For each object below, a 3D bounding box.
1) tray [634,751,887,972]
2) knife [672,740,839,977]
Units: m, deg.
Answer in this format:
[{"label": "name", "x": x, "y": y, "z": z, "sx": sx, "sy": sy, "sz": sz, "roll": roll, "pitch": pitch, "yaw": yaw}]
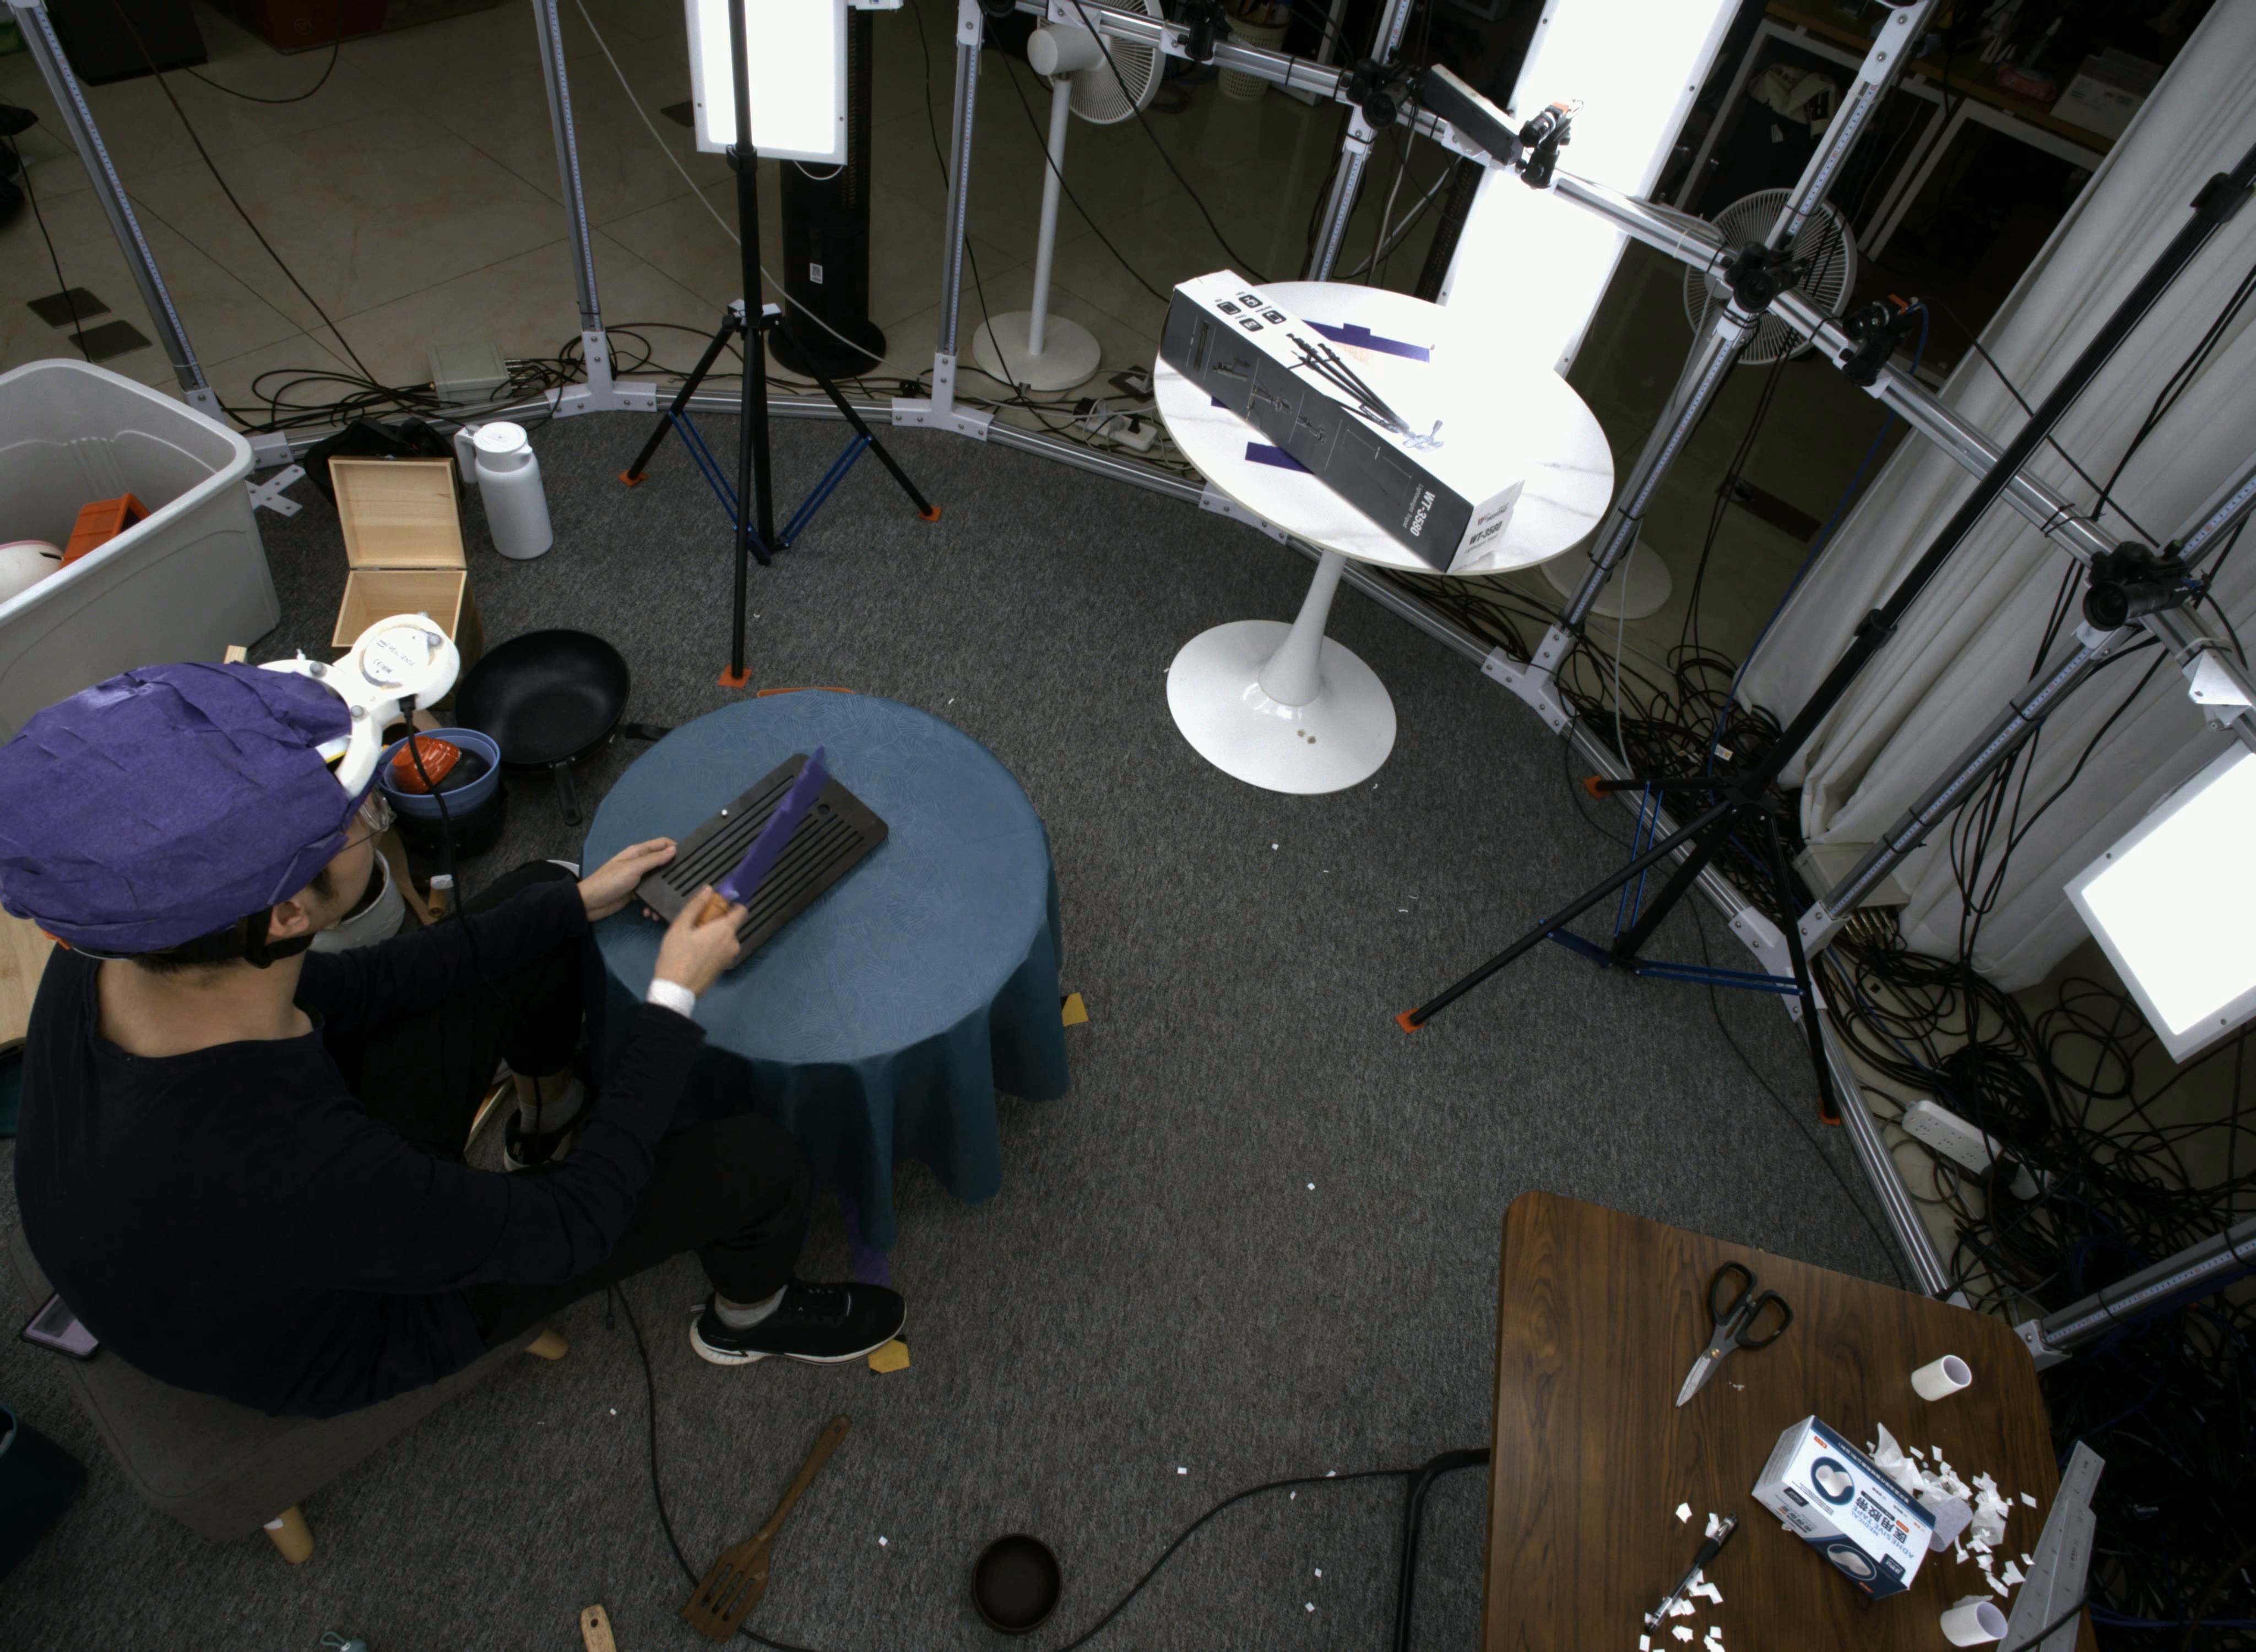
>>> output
[{"label": "tray", "x": -0.467, "y": 0.039, "z": 1.661, "sx": 0.169, "sy": 0.019, "sz": 0.305, "roll": 41, "pitch": 53, "yaw": 3}, {"label": "knife", "x": -0.423, "y": 0.045, "z": 1.508, "sx": 0.032, "sy": 0.106, "sz": 0.314, "roll": 26, "pitch": 67, "yaw": 9}]
